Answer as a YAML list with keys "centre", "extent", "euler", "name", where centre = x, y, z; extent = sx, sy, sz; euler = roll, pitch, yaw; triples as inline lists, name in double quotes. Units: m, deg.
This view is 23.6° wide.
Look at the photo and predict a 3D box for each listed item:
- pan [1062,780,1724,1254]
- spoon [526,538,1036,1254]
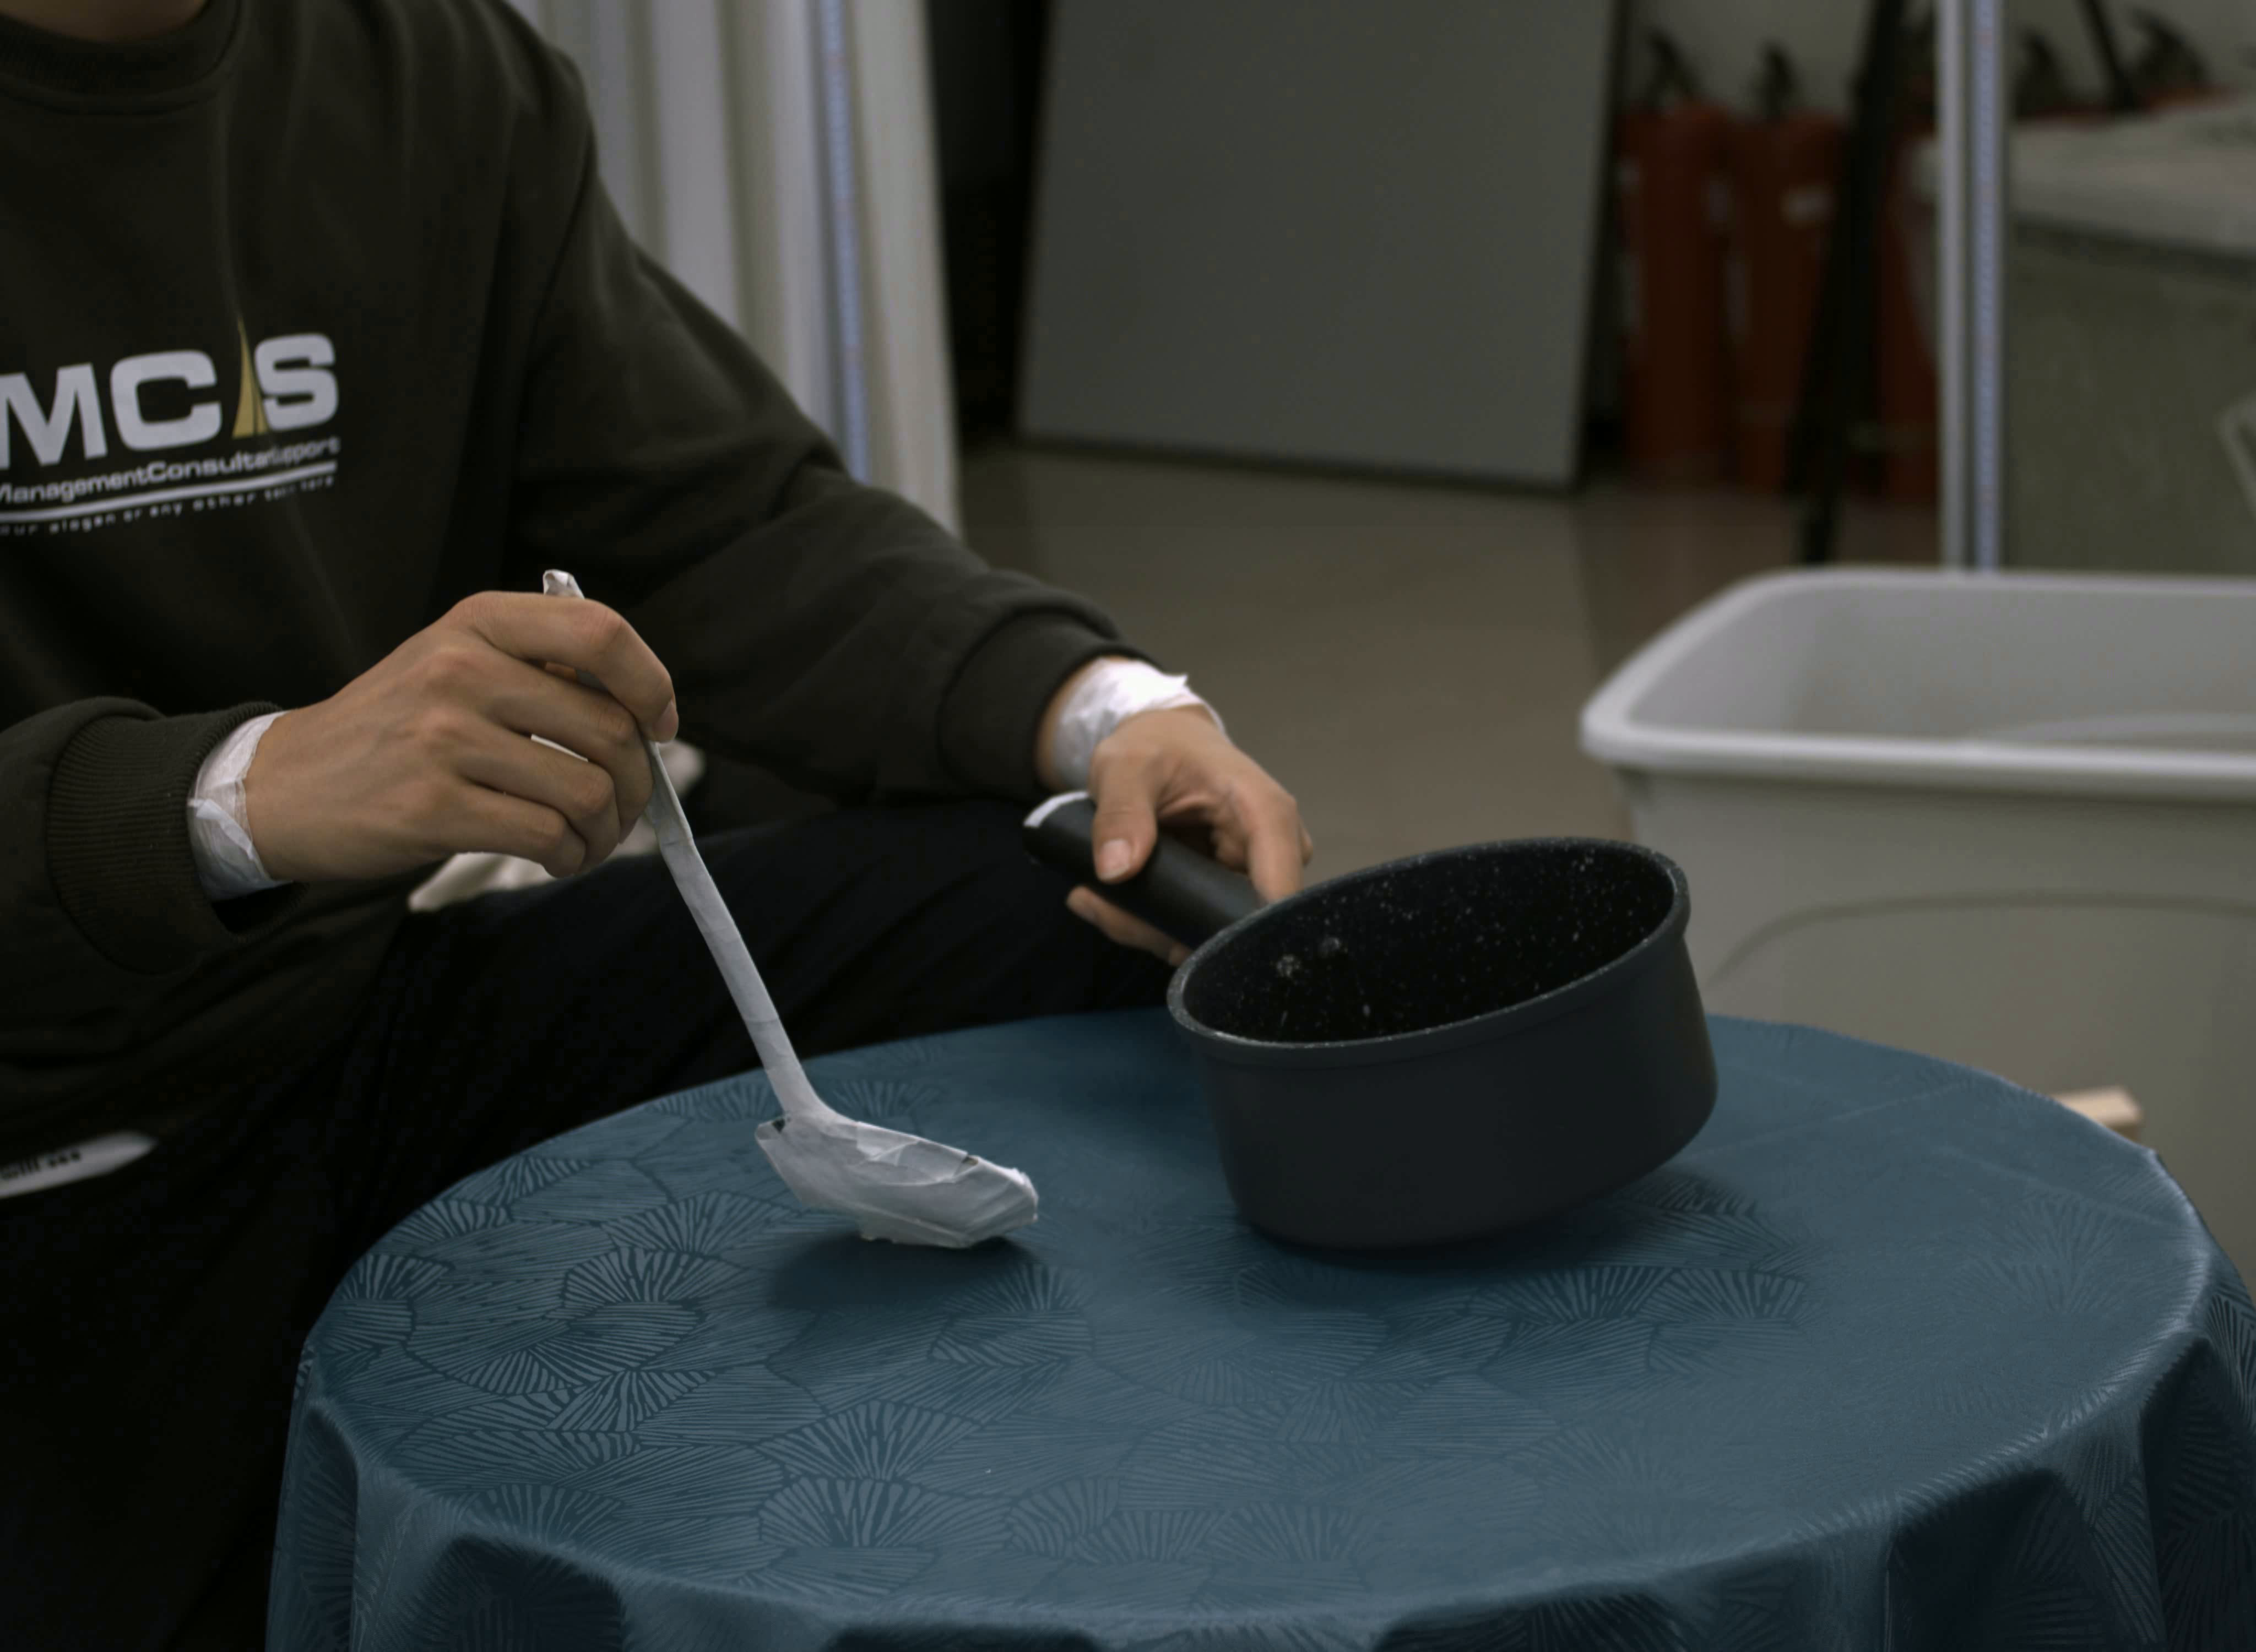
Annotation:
- centre: [0.068, 0.054, 1.793]
  extent: [0.169, 0.087, 0.332]
  euler: [-21, 18, -22]
  name: "pan"
- centre: [-0.114, 0.024, 1.679]
  extent: [0.101, 0.278, 0.058]
  euler: [-6, 24, 42]
  name: "spoon"
